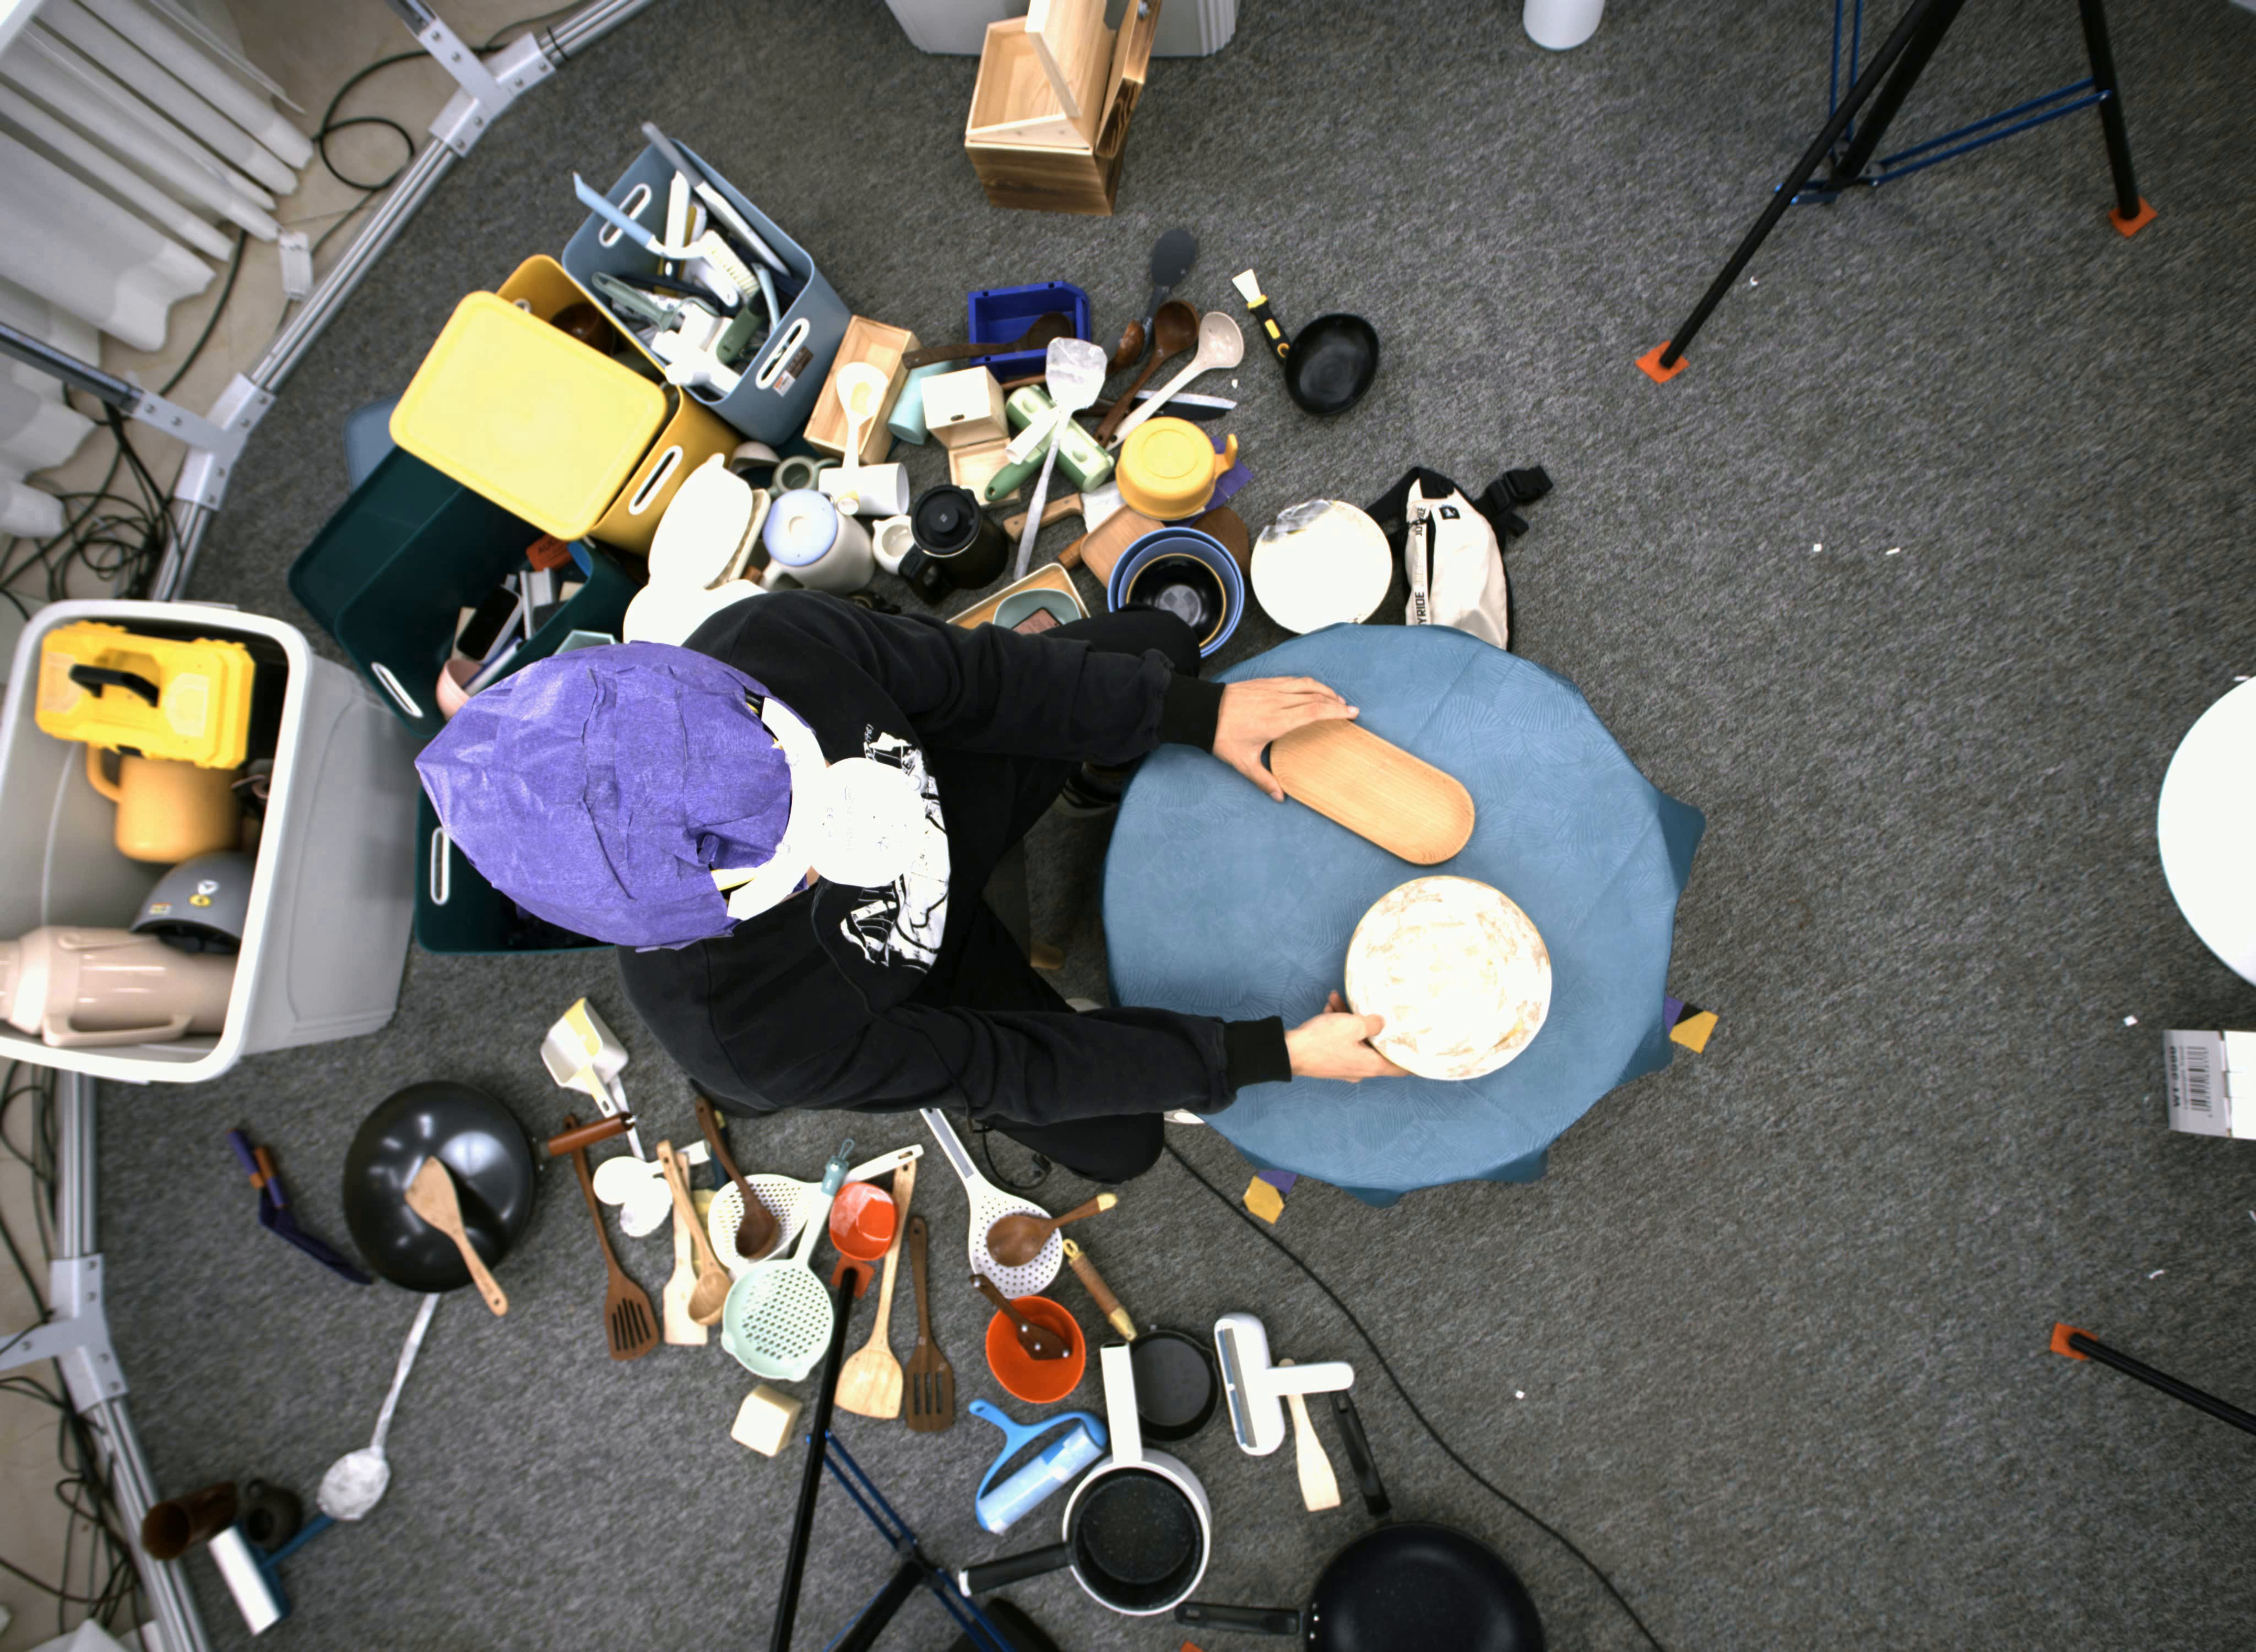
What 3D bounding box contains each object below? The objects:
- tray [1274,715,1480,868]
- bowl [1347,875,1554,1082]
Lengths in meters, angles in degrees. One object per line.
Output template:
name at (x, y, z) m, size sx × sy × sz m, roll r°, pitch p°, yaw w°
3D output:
tray at (0.264, -0.039, 1.466) m, size 0.231 × 0.020 × 0.102 m, roll 29°, pitch 95°, yaw 9°
bowl at (0.323, 0.150, 1.402) m, size 0.215 × 0.094 × 0.213 m, roll -1°, pitch 86°, yaw 11°
